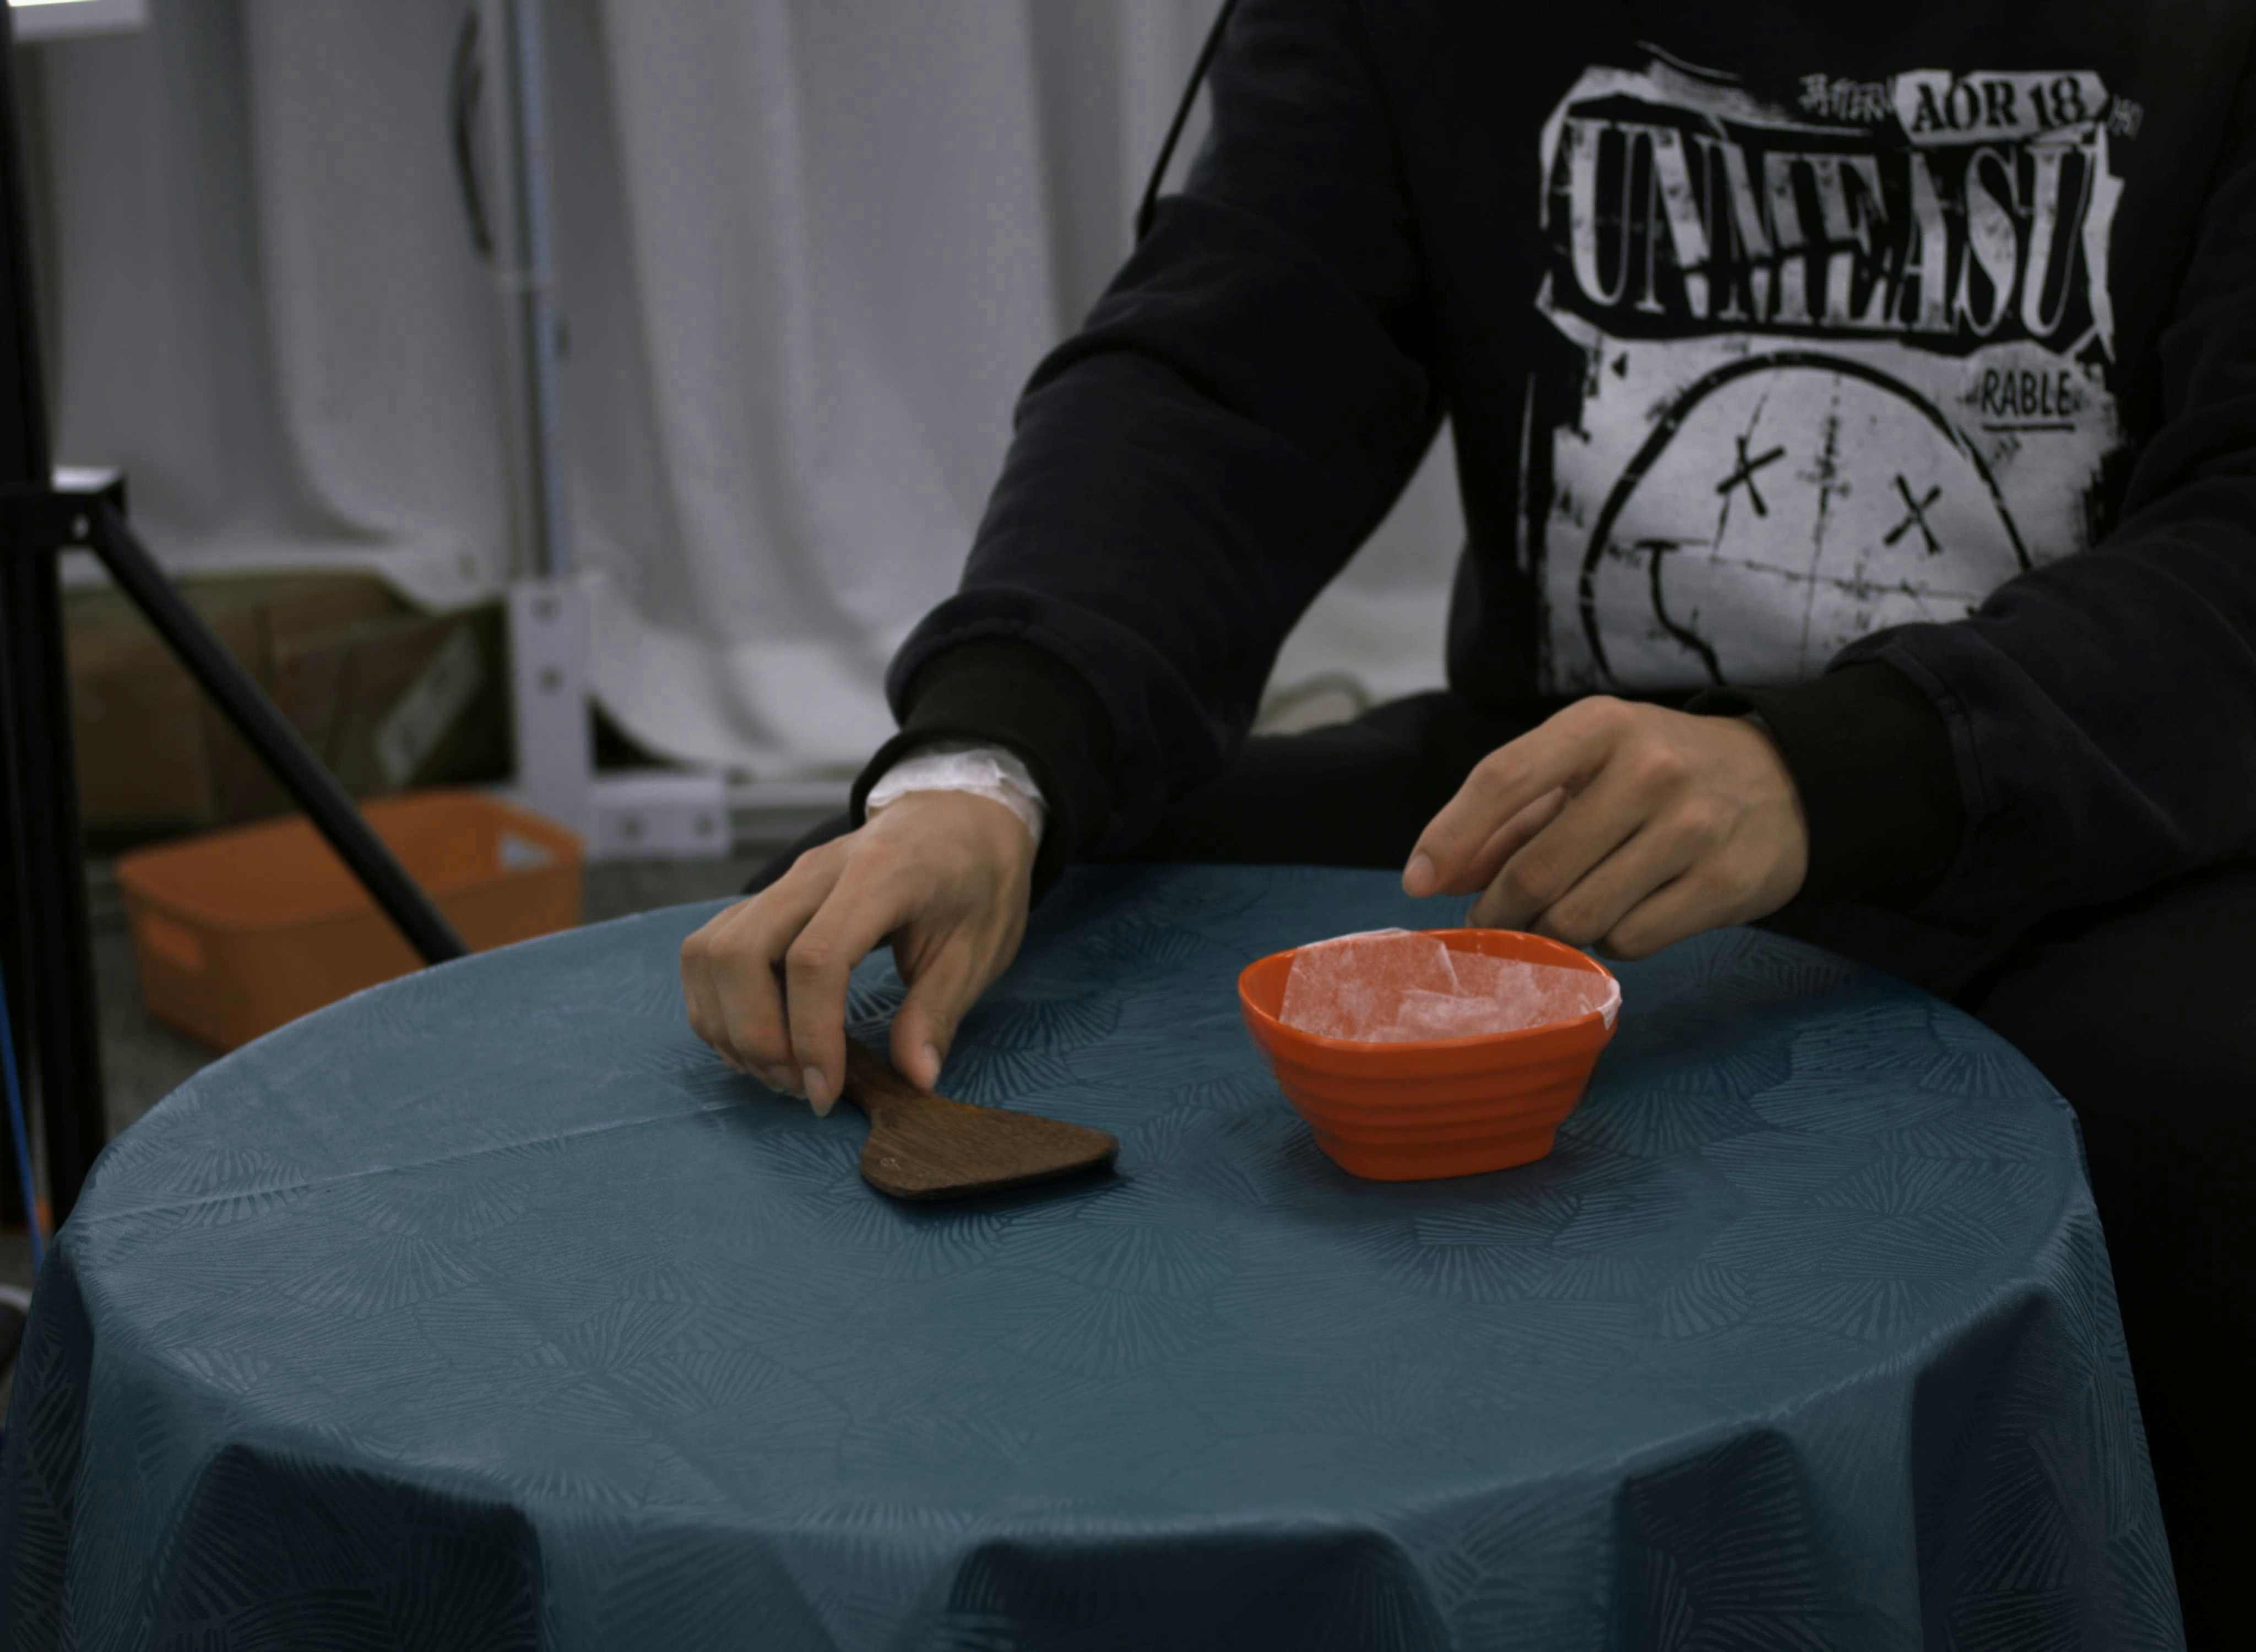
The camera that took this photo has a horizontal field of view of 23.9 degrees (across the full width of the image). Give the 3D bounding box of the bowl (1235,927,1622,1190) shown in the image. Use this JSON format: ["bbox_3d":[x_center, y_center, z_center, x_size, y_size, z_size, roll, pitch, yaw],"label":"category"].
[{"bbox_3d":[0.090,0.072,1.582,0.118,0.051,0.119,-4,17,0],"label":"bowl"}]

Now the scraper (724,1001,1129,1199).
[{"bbox_3d":[-0.074,0.083,1.645,0.074,0.011,0.215,-9,16,-24],"label":"scraper"}]
